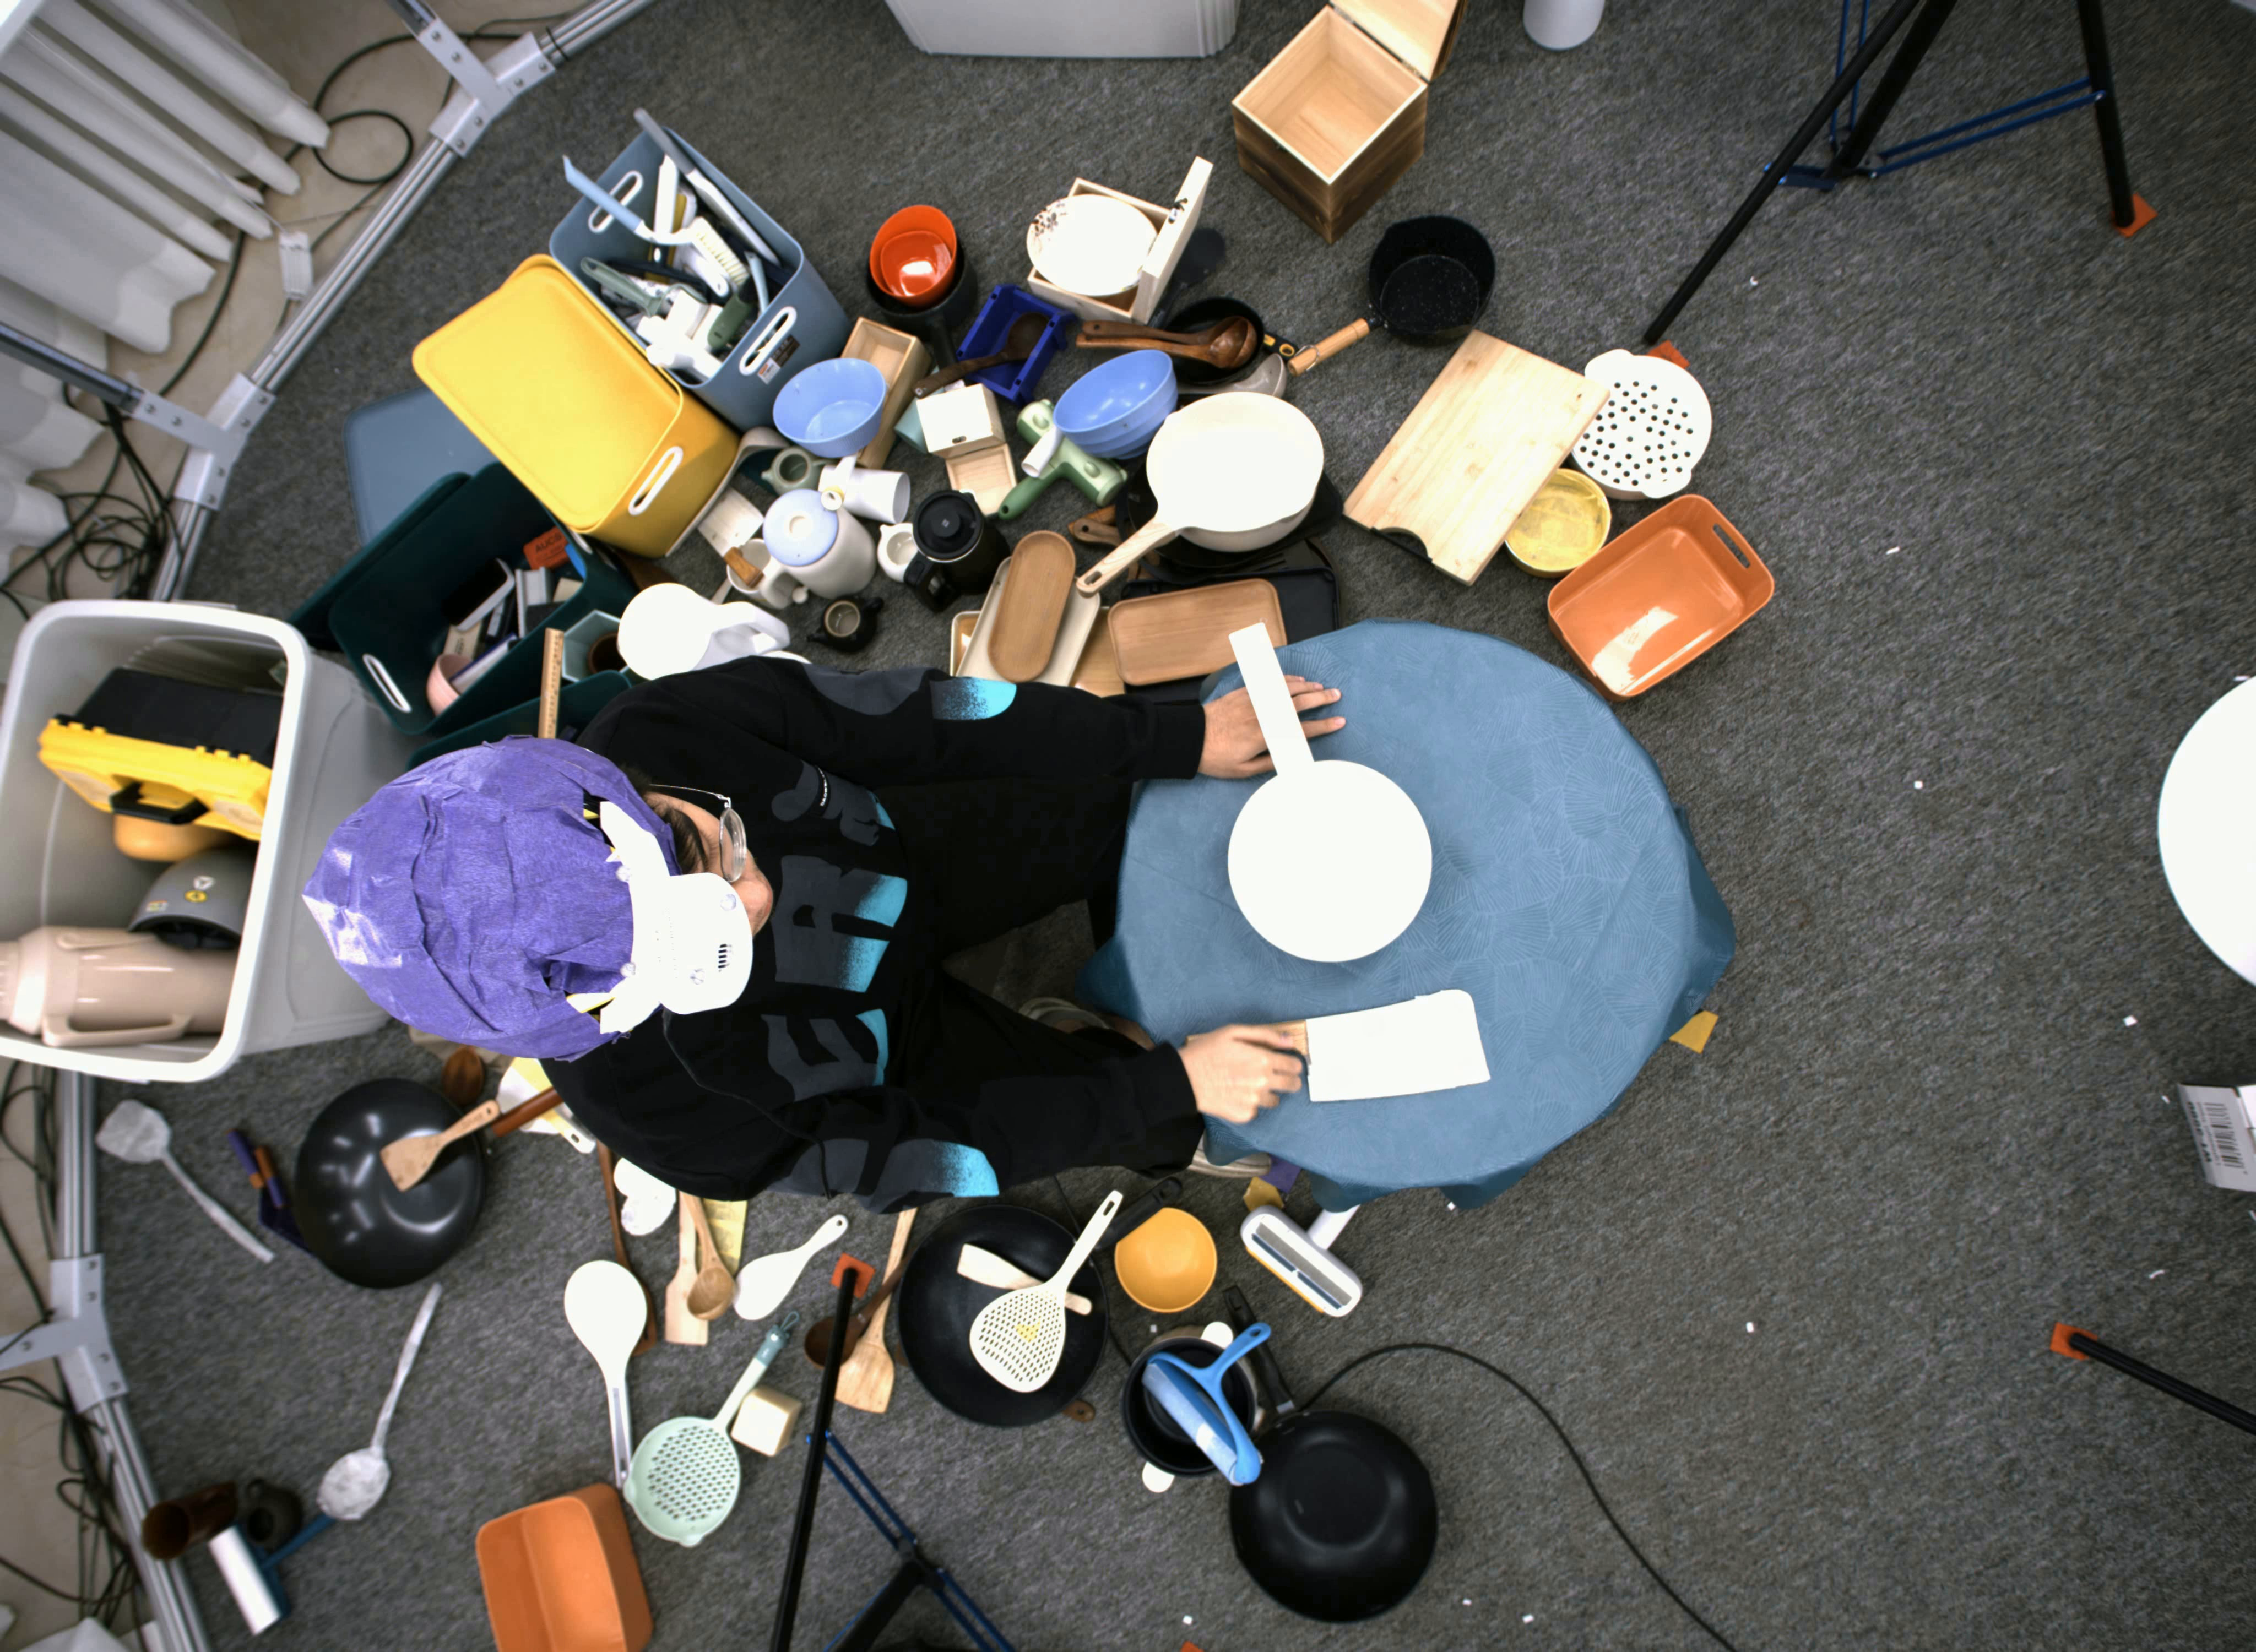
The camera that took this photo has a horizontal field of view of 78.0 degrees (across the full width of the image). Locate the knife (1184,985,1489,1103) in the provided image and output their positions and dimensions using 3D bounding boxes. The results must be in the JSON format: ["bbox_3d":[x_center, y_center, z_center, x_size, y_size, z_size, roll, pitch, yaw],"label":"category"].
[{"bbox_3d":[0.216,0.231,1.452,0.316,0.022,0.113,-5,87,8],"label":"knife"}]

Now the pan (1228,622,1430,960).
[{"bbox_3d":[0.184,-0.035,1.433,0.202,0.102,0.352,-20,83,10],"label":"pan"}]
